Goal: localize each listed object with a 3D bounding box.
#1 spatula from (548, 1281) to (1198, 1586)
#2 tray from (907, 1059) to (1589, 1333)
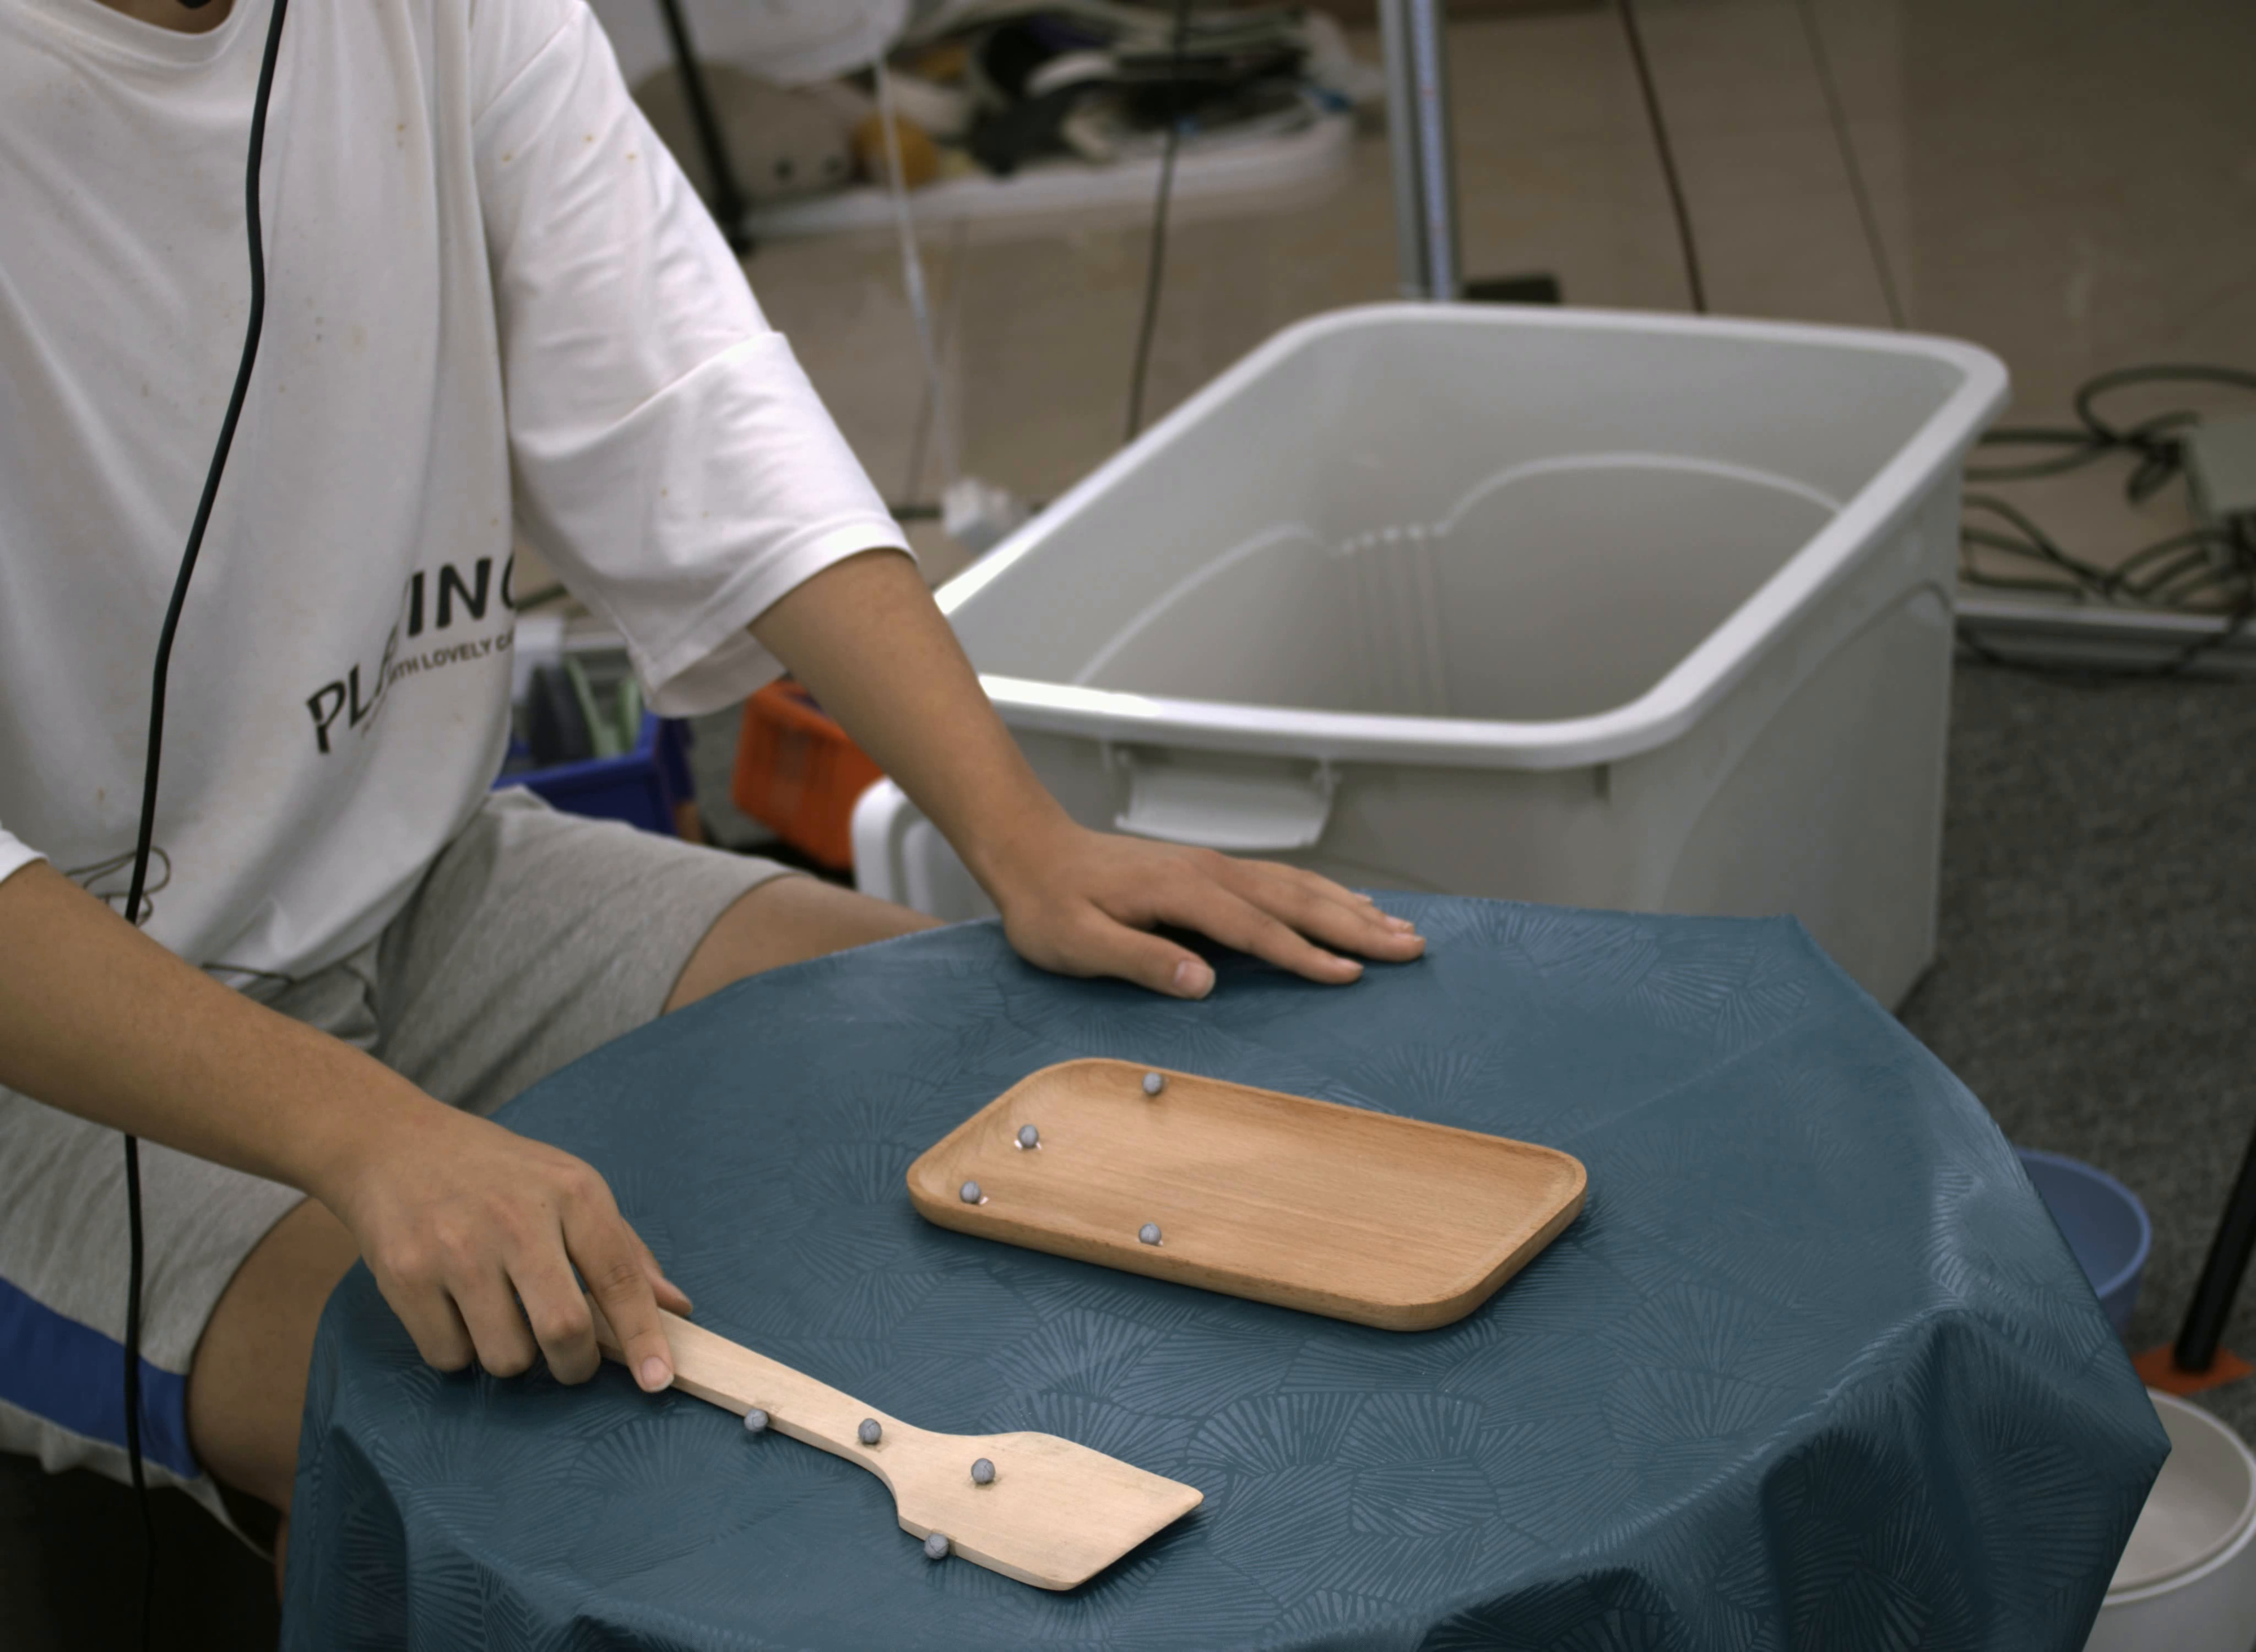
[{"bbox_3d":[-0.103,0.209,2.006,0.291,0.011,0.071,18,35,40],"label":"spatula"},{"bbox_3d":[0.044,0.137,2.121,0.249,0.023,0.129,12,33,34],"label":"tray"}]
